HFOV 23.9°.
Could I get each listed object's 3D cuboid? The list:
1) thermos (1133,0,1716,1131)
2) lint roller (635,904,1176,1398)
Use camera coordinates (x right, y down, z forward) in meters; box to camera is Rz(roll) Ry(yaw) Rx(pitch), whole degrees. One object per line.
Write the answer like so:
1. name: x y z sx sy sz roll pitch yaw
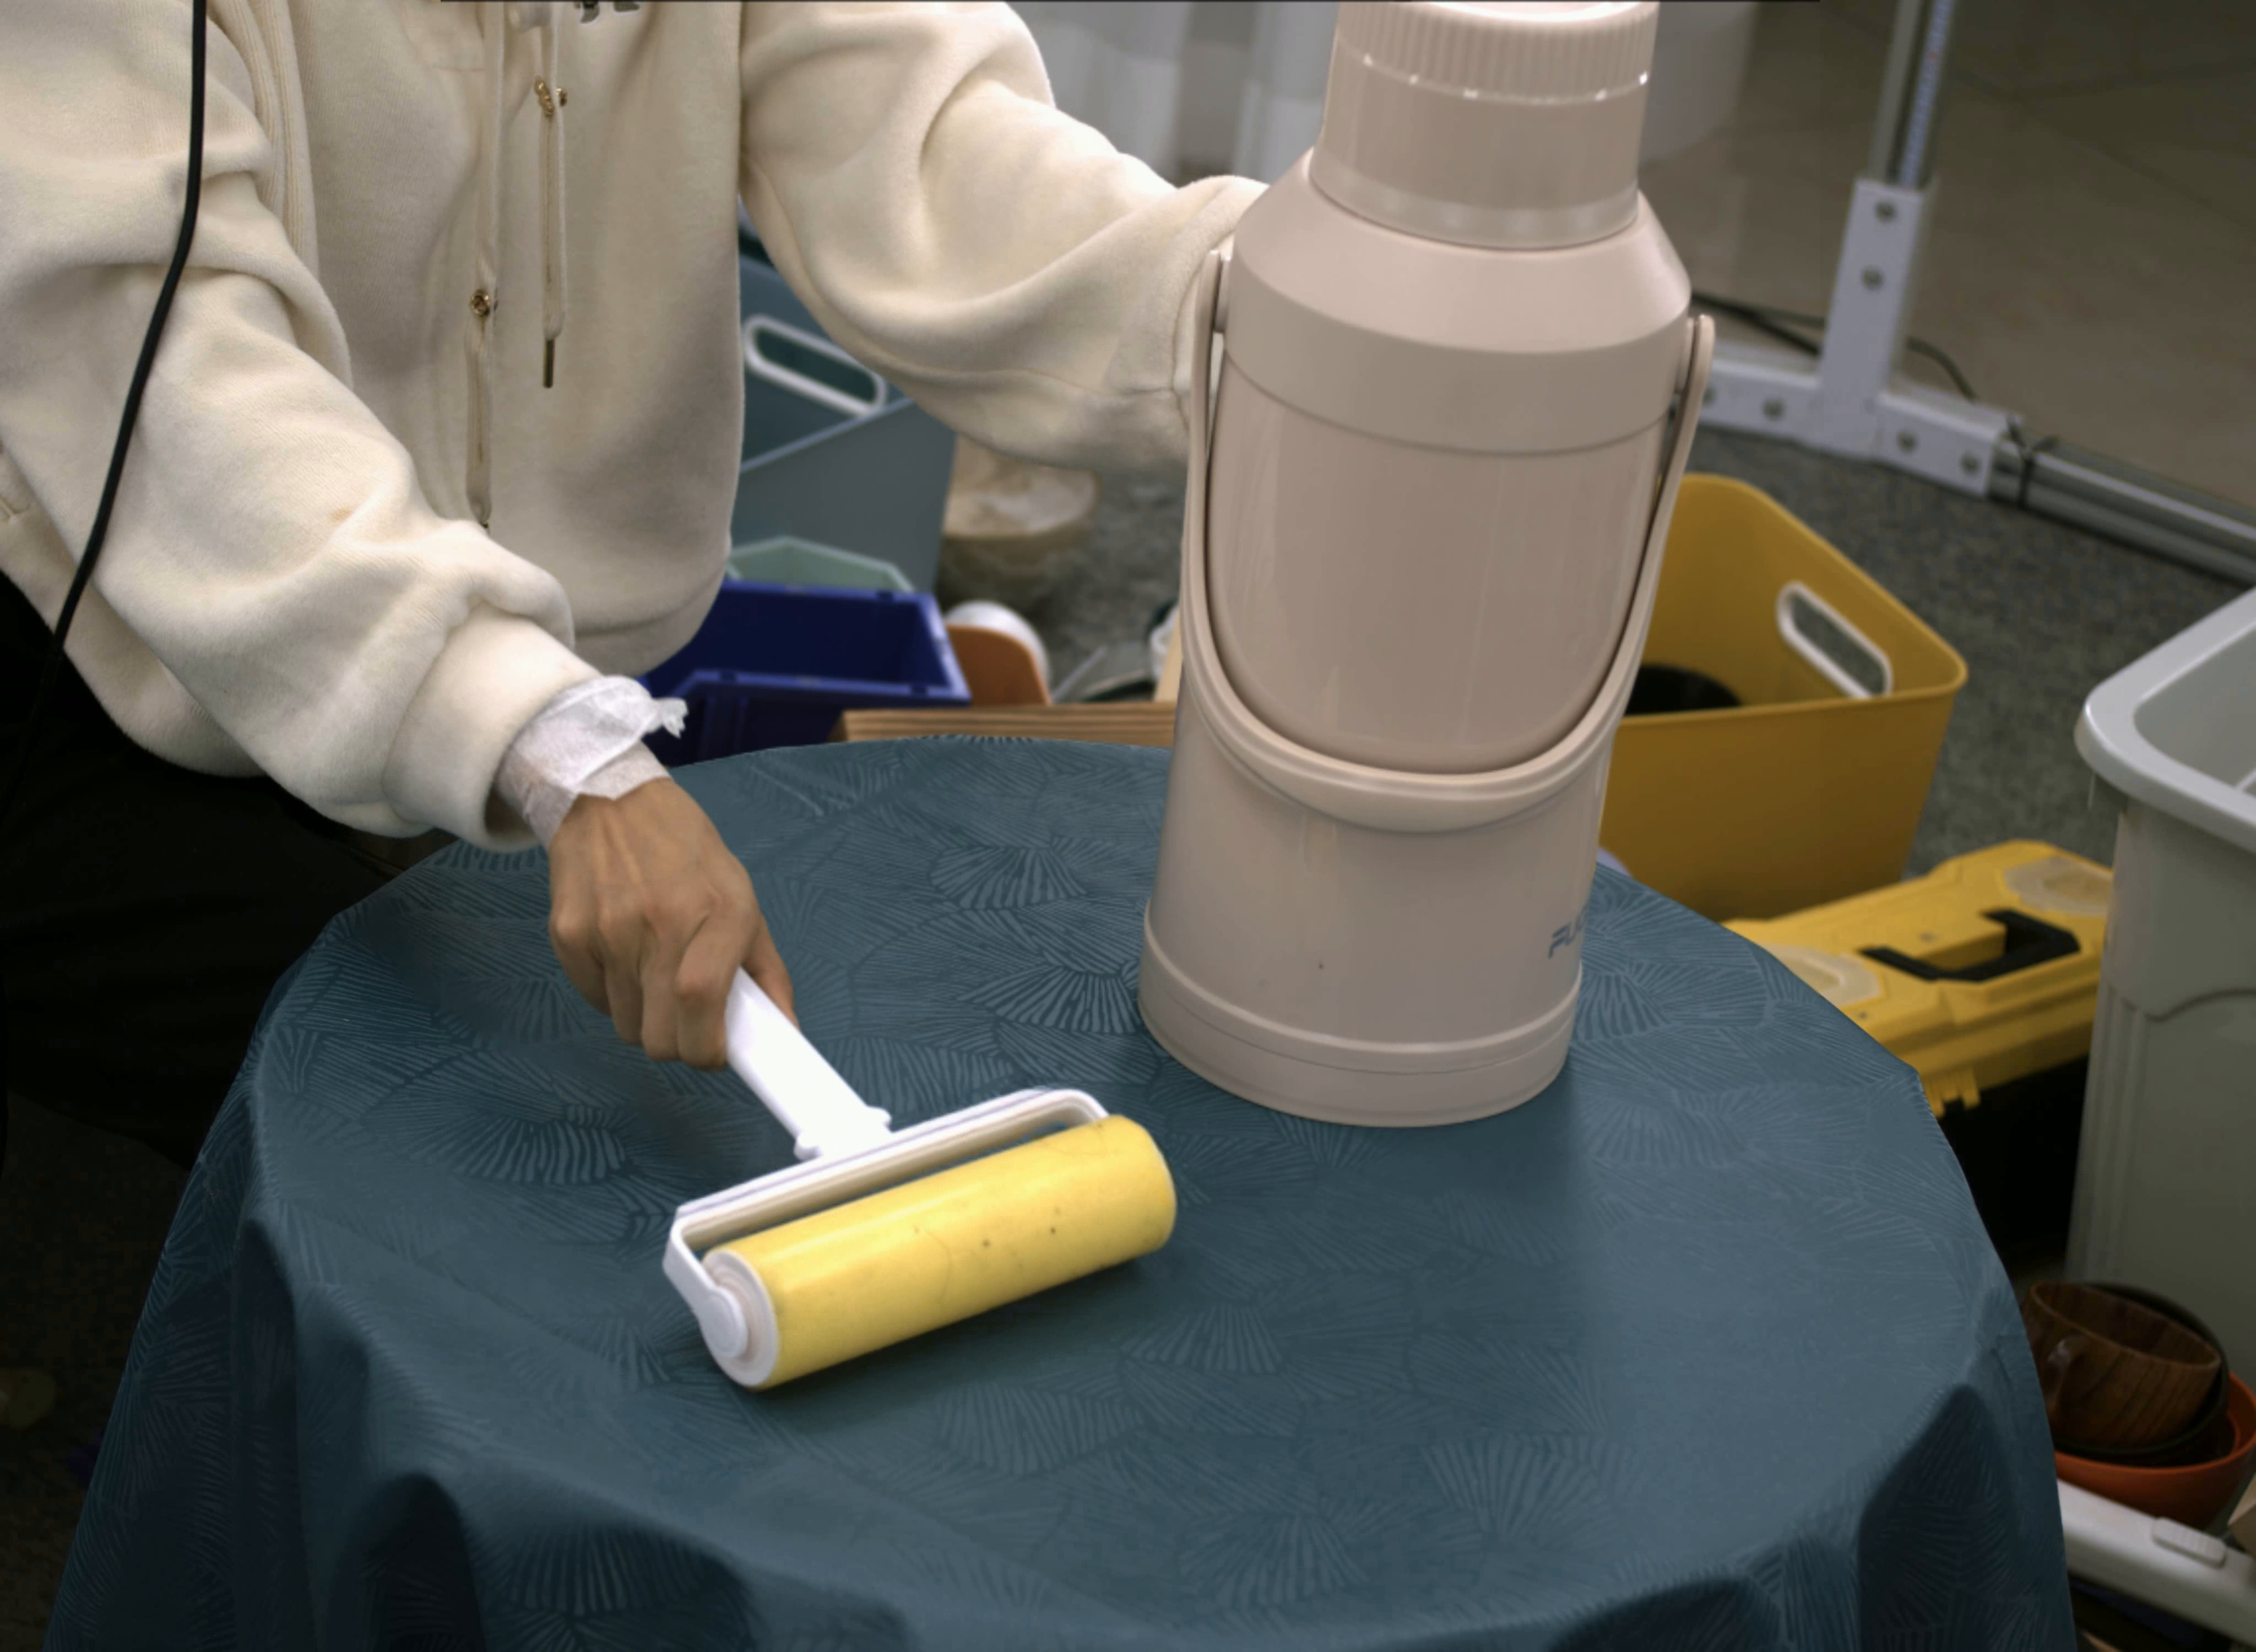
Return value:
1. thermos: 0.105 -0.111 1.850 0.175 0.405 0.208 7 26 2
2. lint roller: -0.101 0.087 1.740 0.173 0.051 0.193 -17 59 -36
